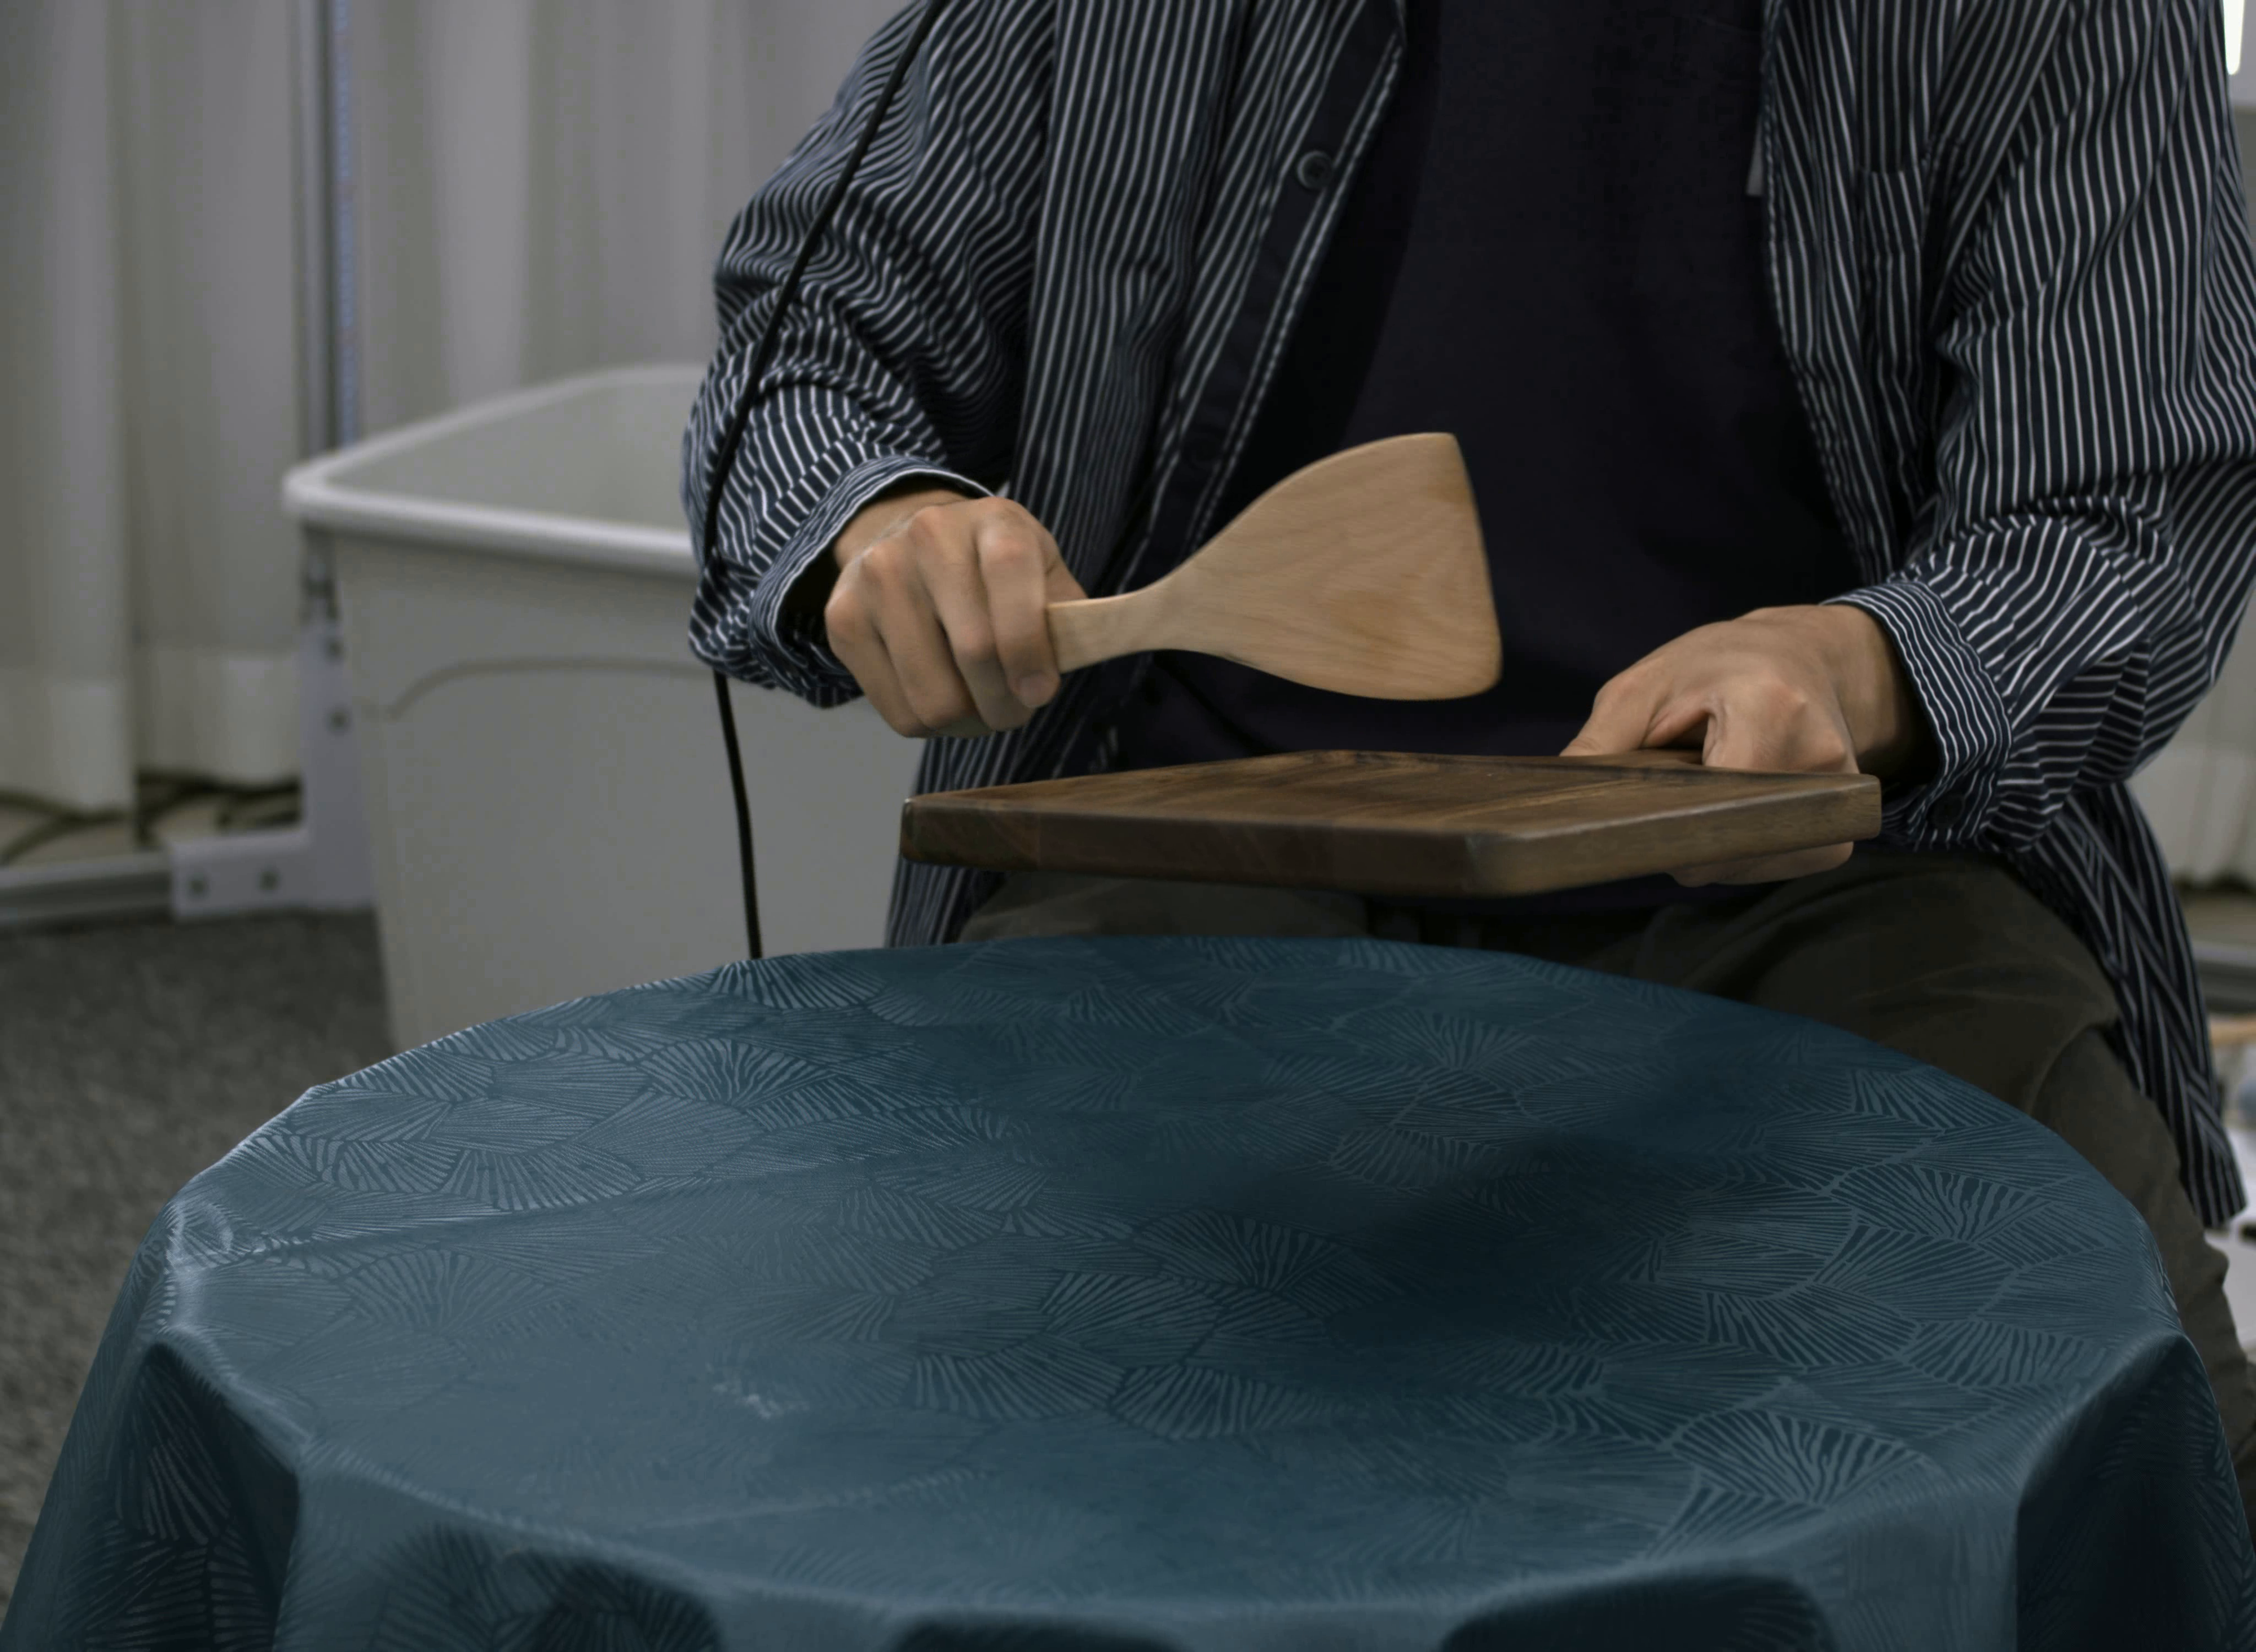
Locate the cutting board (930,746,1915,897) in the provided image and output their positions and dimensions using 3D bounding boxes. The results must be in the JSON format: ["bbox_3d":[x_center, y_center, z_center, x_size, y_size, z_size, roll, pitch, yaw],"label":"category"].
[{"bbox_3d":[0.116,-0.005,1.563,0.199,0.023,0.354,3,5,32],"label":"cutting board"}]

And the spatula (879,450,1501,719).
[{"bbox_3d":[0.012,-0.061,1.653,0.016,0.080,0.324,-23,9,-33],"label":"spatula"}]
